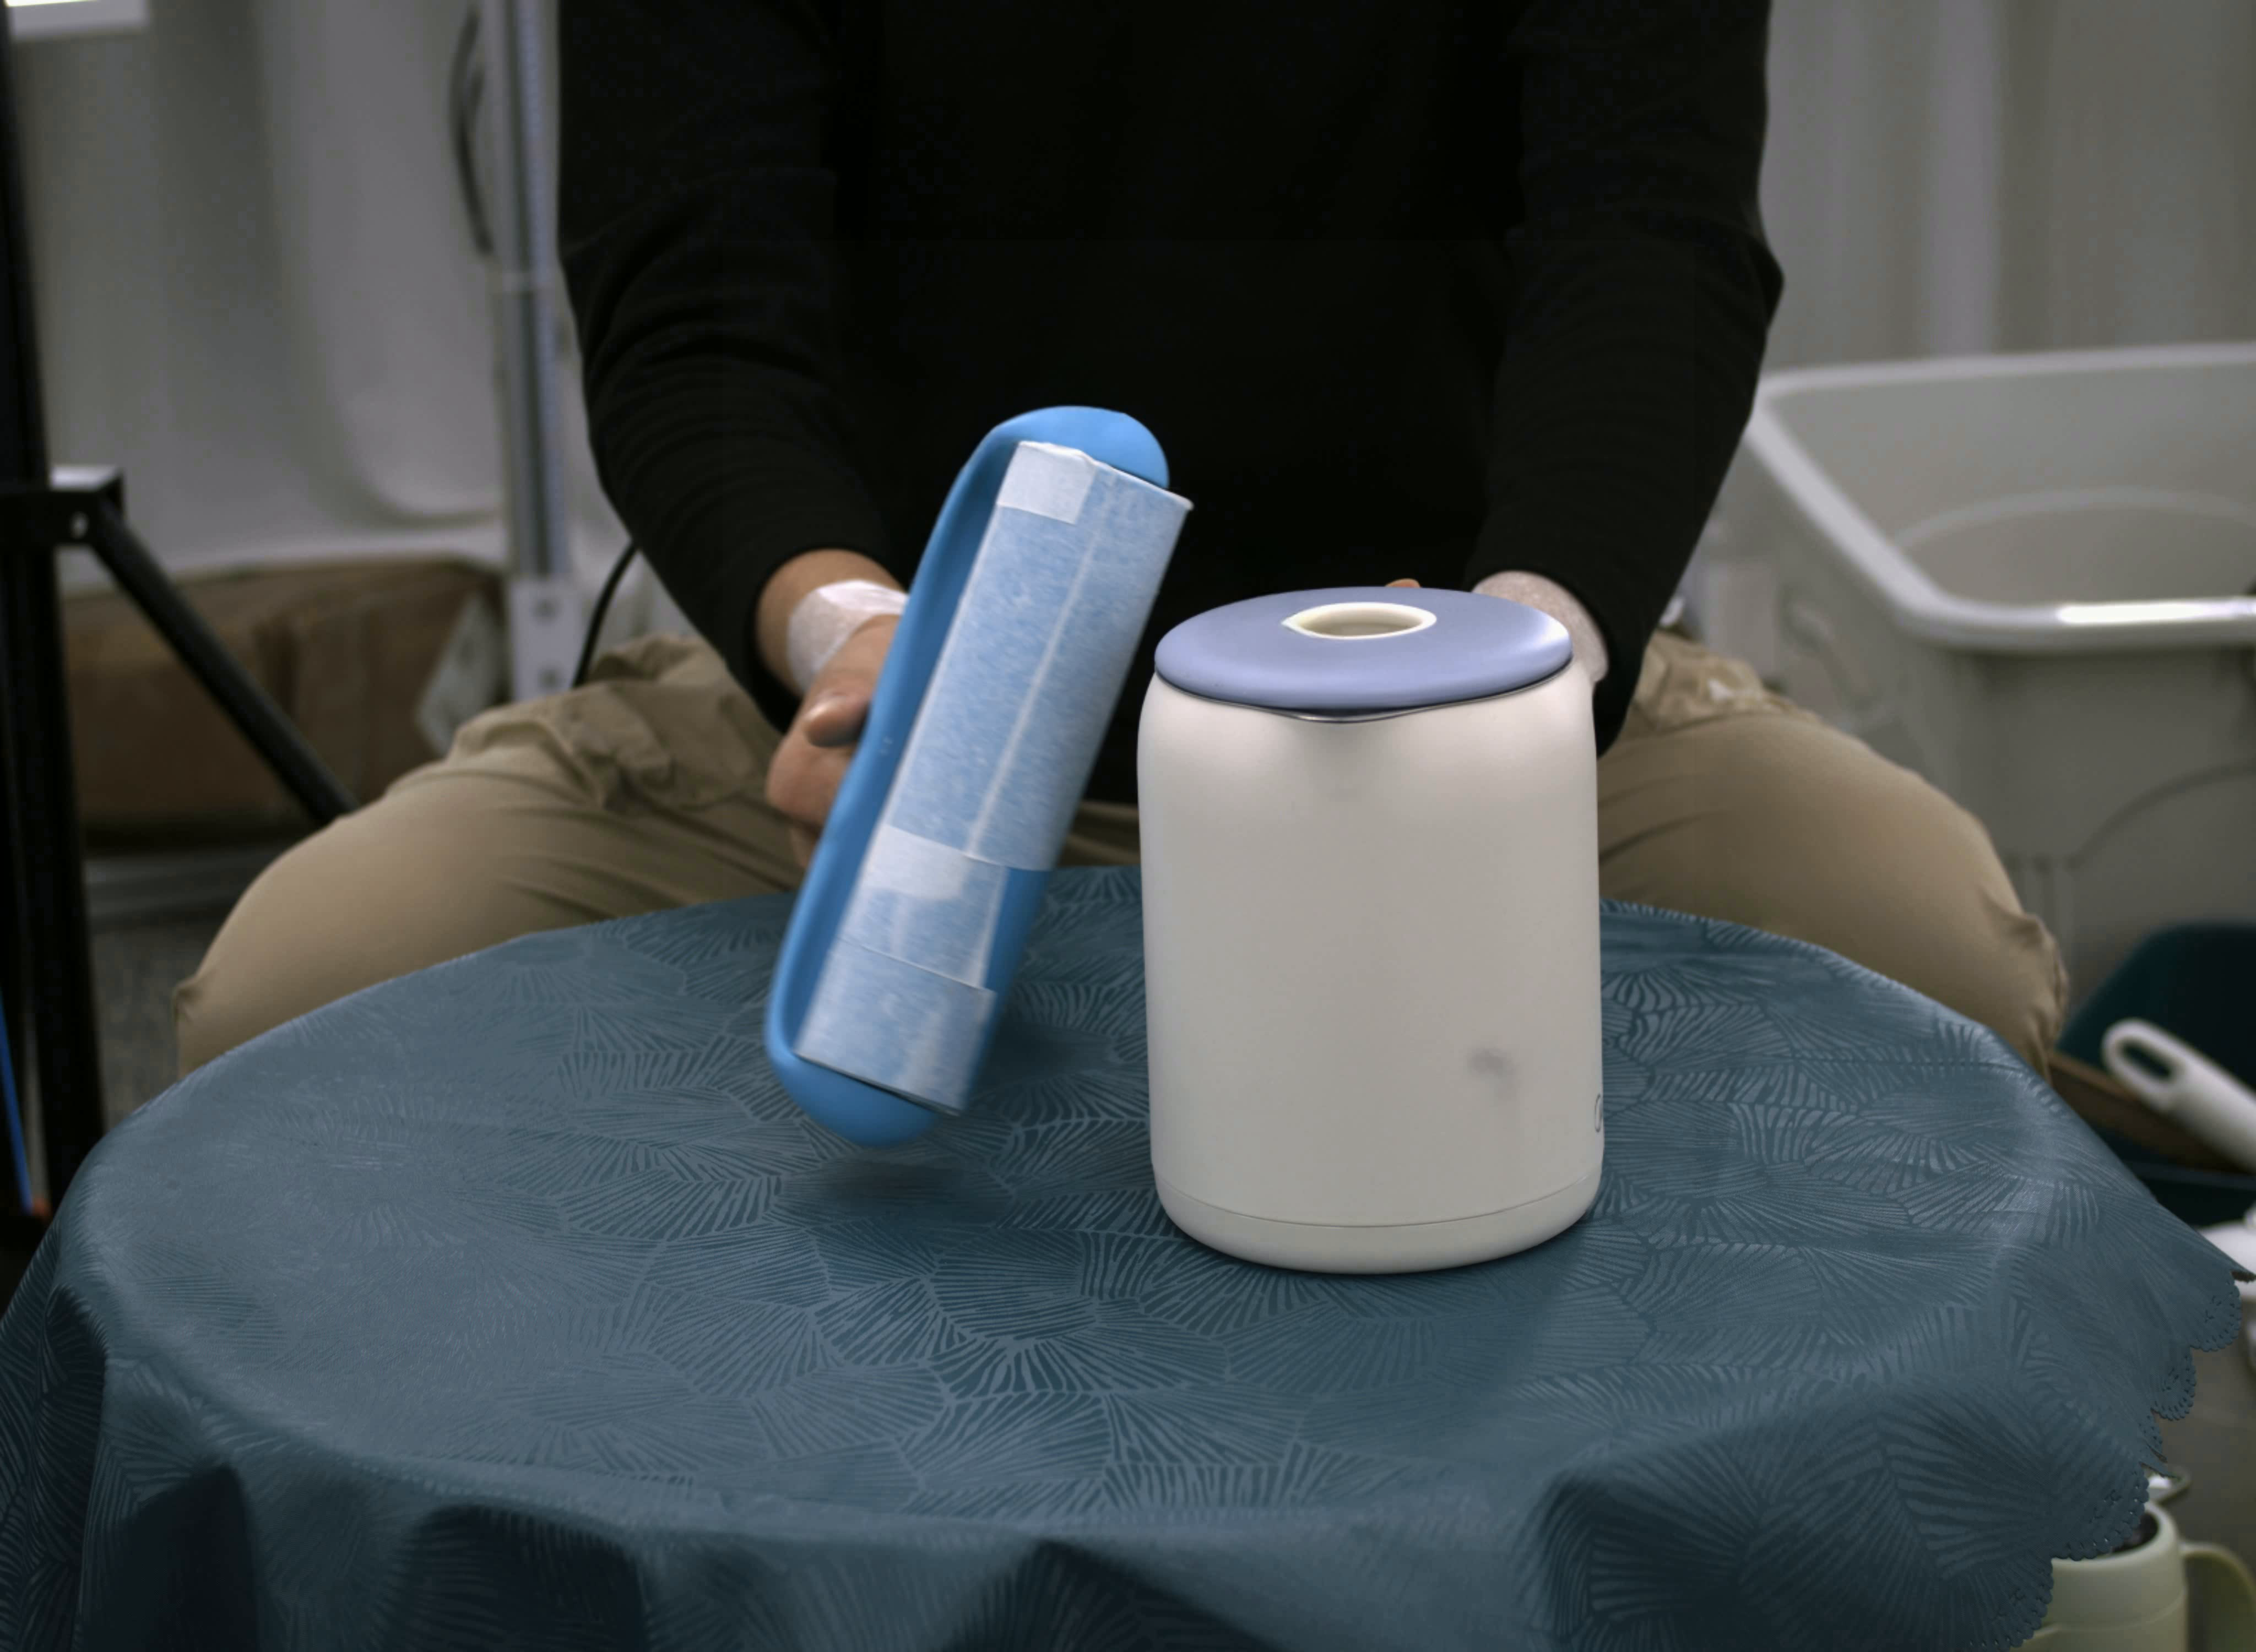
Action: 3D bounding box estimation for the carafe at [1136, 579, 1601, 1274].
[{"bbox_3d":[0.072,0.022,1.536,0.132,0.182,0.190,0,13,7],"label":"carafe"}]

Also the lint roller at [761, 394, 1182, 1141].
[{"bbox_3d":[-0.057,-0.017,1.622,0.067,0.230,0.182,20,-5,-13],"label":"lint roller"}]
